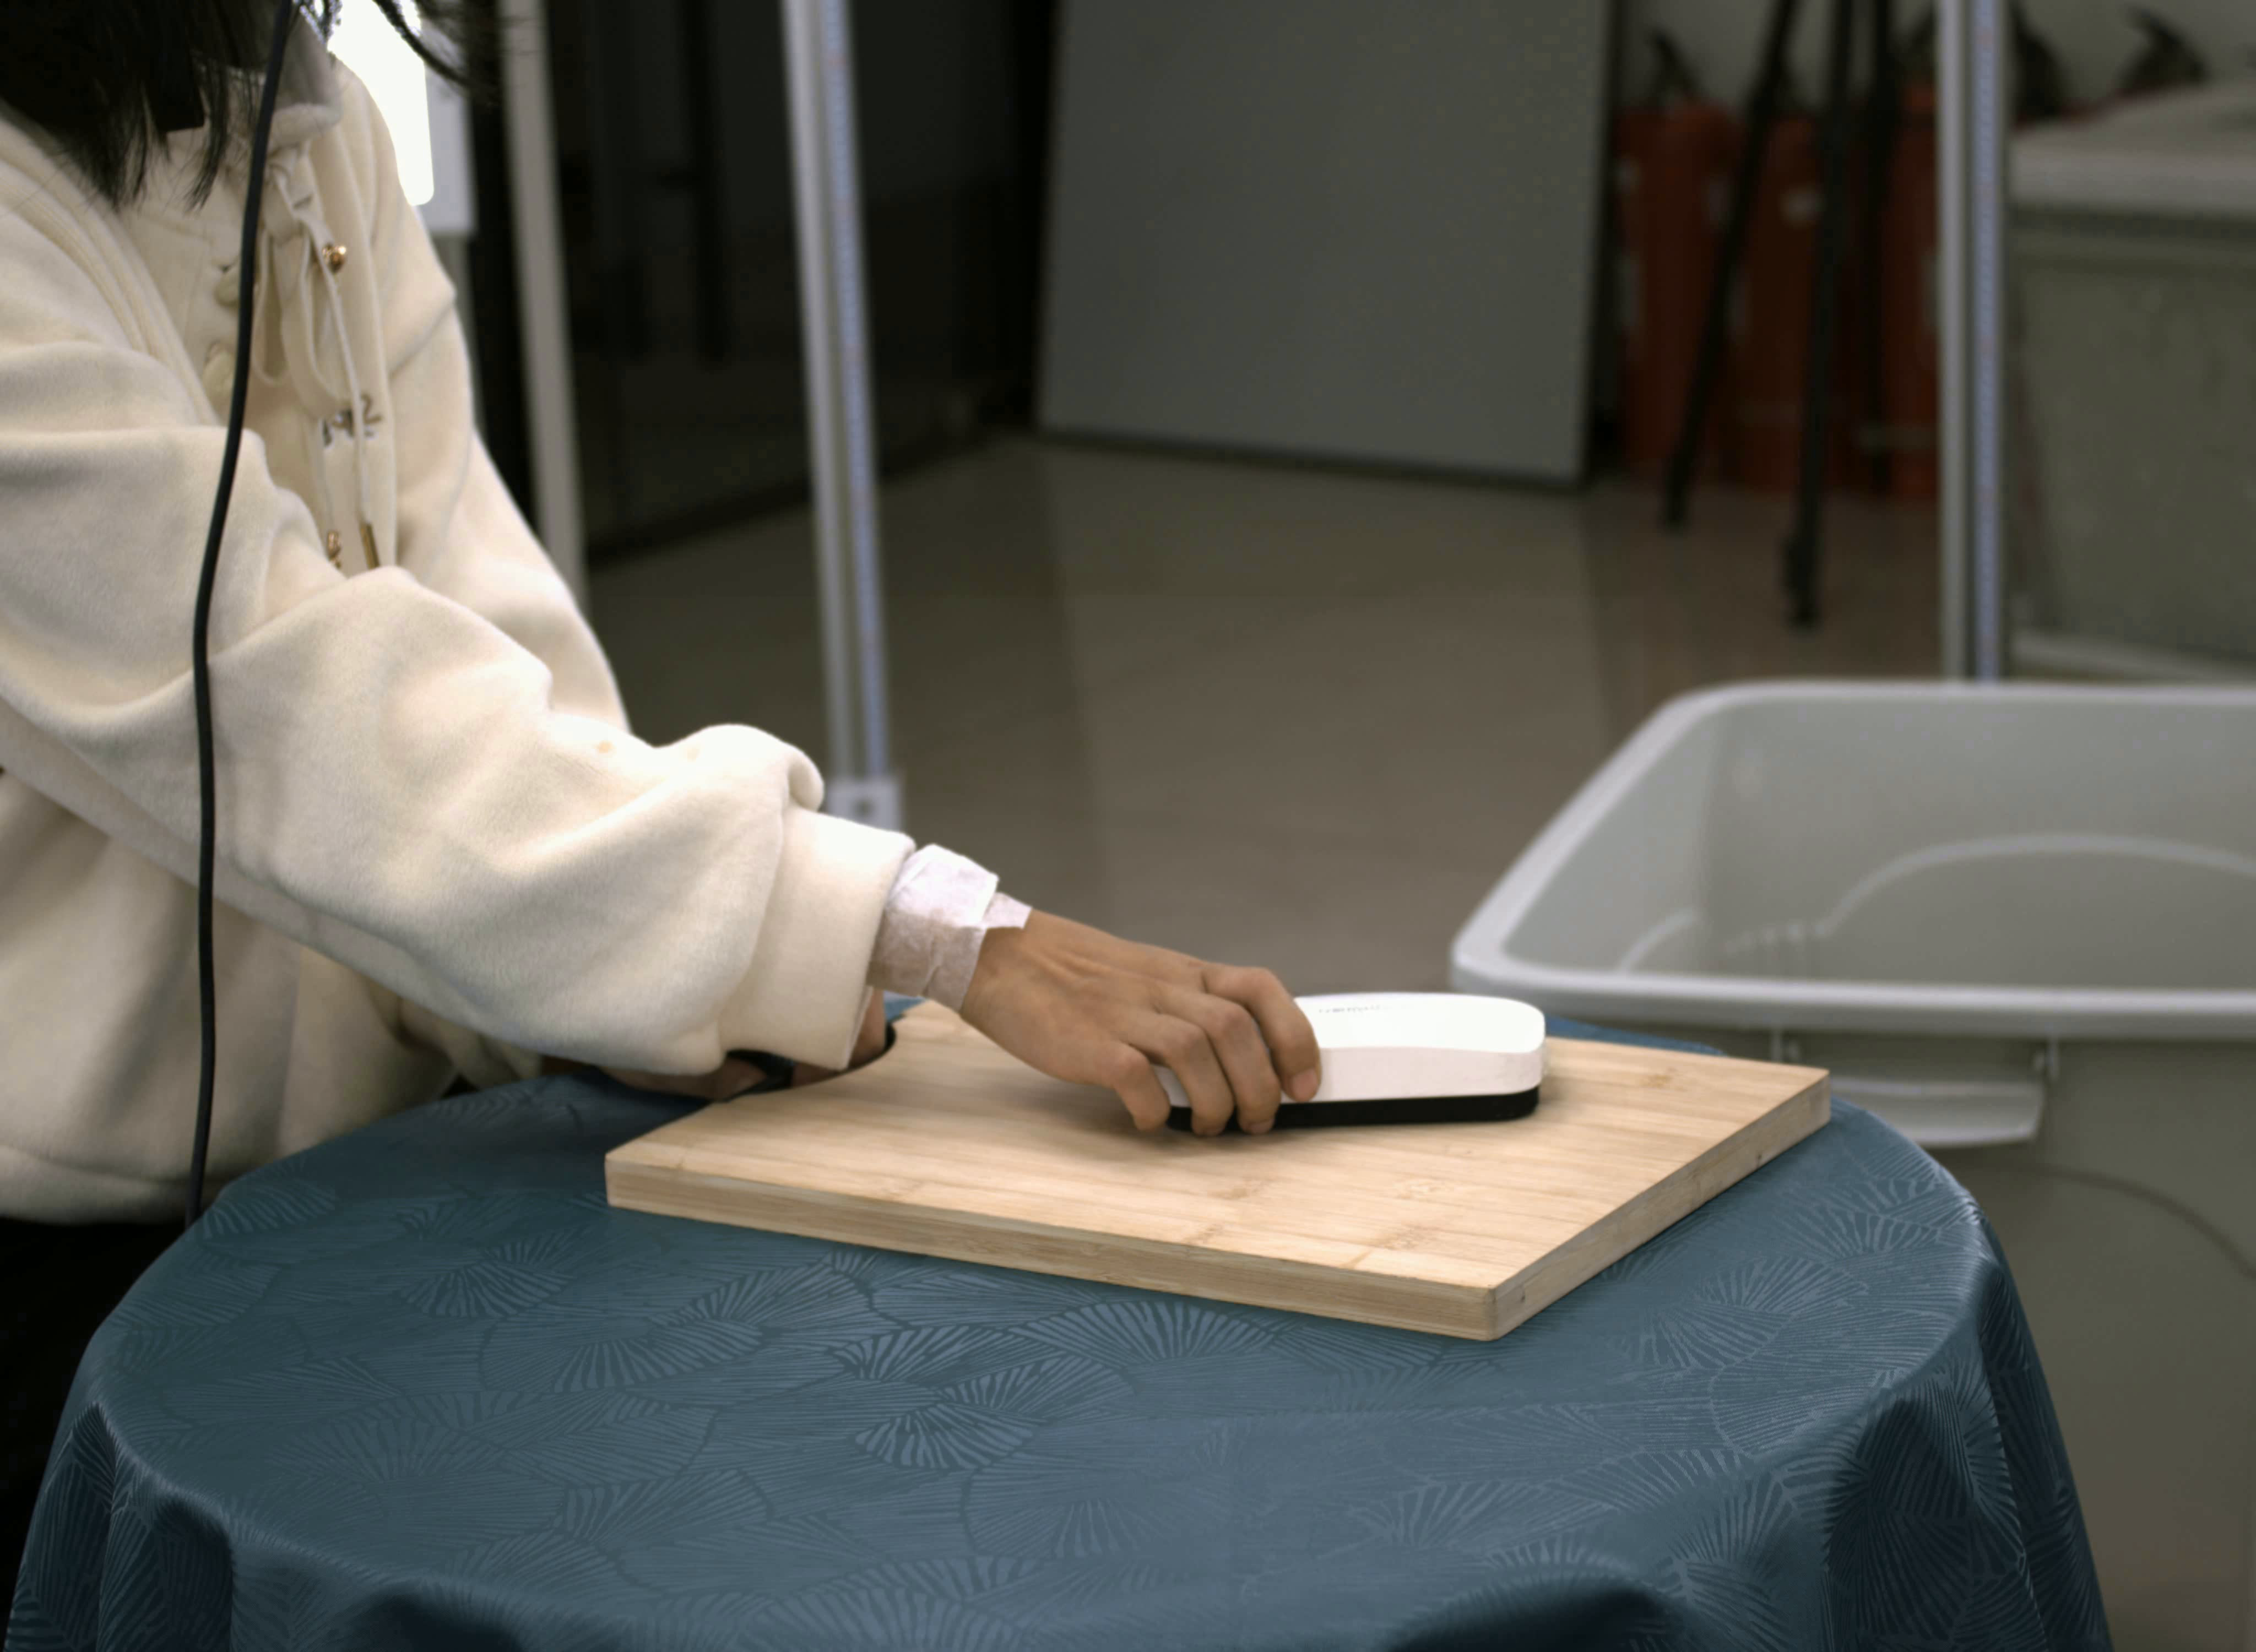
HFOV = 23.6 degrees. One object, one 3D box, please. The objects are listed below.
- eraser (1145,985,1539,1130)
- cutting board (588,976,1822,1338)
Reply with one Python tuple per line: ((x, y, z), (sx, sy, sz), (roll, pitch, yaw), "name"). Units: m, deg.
((0.072, 0.077, 1.786), (0.130, 0.035, 0.063), (-2, 14, 8), "eraser")
((0.026, 0.105, 1.795), (0.350, 0.024, 0.246), (5, 16, 33), "cutting board")
